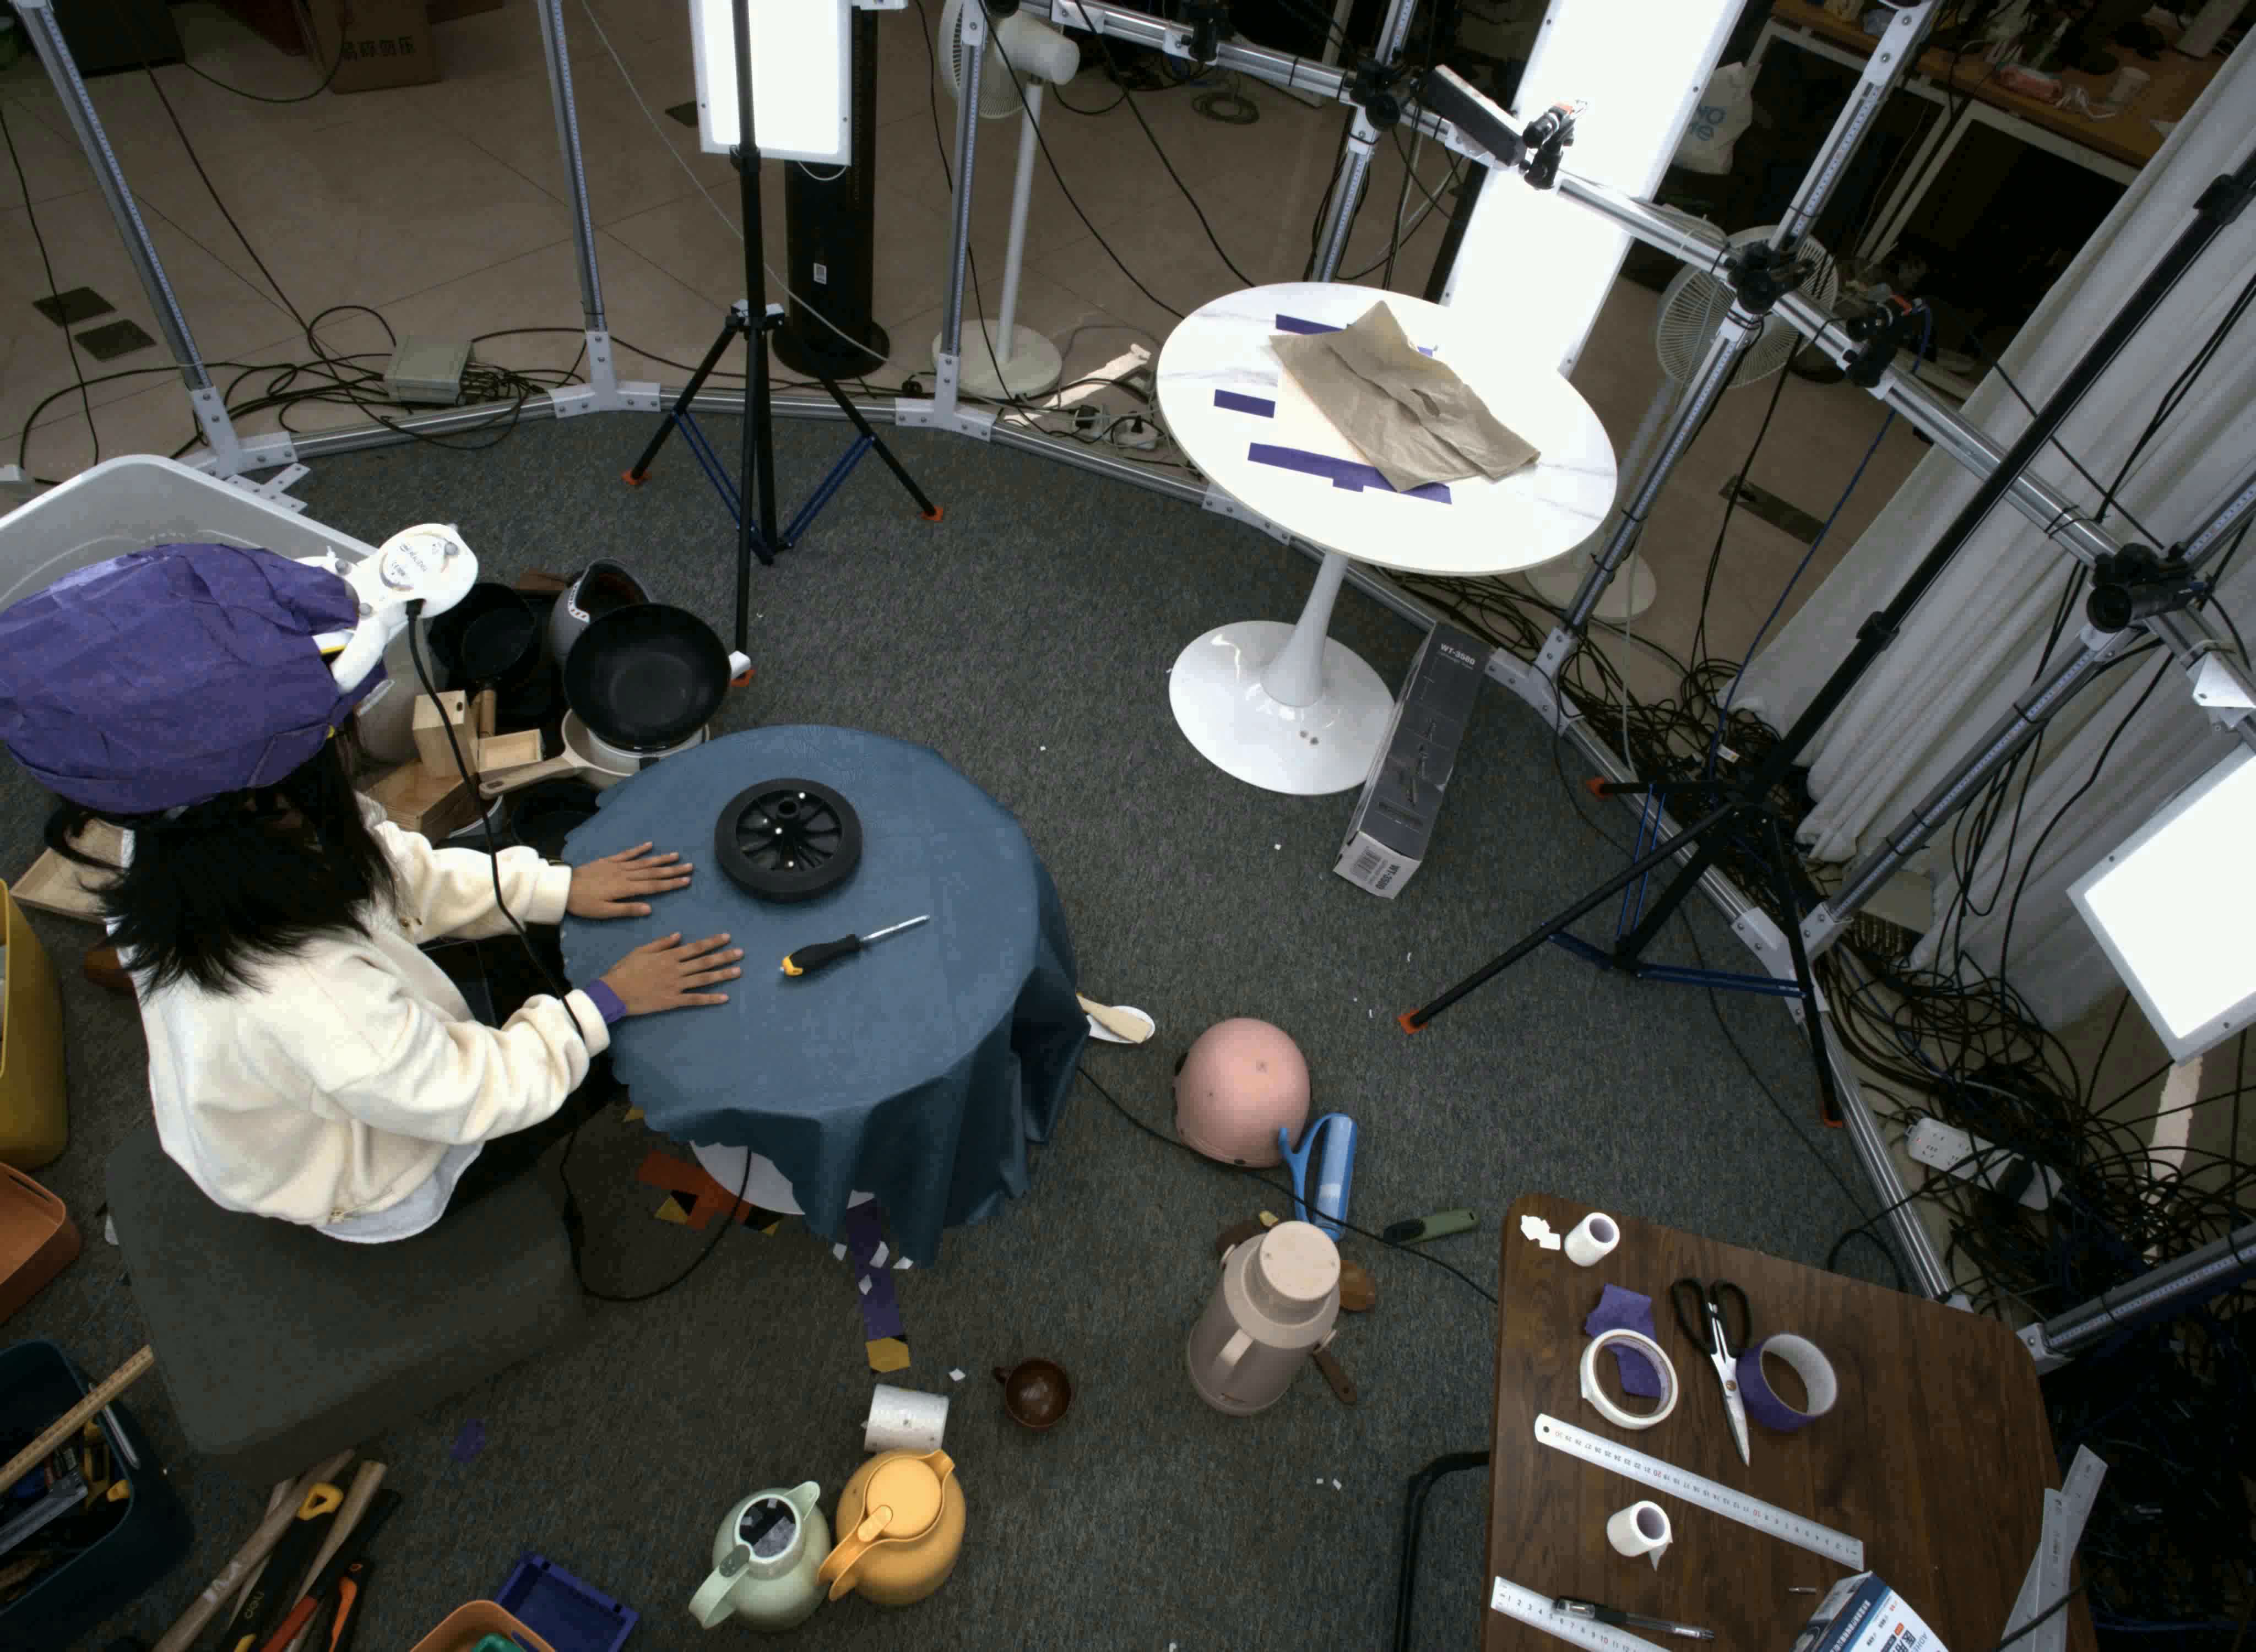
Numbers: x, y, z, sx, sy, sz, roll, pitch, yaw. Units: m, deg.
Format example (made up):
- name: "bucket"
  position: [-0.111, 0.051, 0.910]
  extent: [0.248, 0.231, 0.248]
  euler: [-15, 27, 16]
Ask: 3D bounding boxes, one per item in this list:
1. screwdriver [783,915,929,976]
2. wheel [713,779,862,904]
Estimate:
- name: "screwdriver"
  position: [-0.338, 0.139, 1.622]
  extent: [0.197, 0.032, 0.030]
  euler: [-23, 60, -31]
- name: "wheel"
  position: [-0.437, 0.004, 1.665]
  extent: [0.188, 0.080, 0.186]
  euler: [24, 52, 0]
